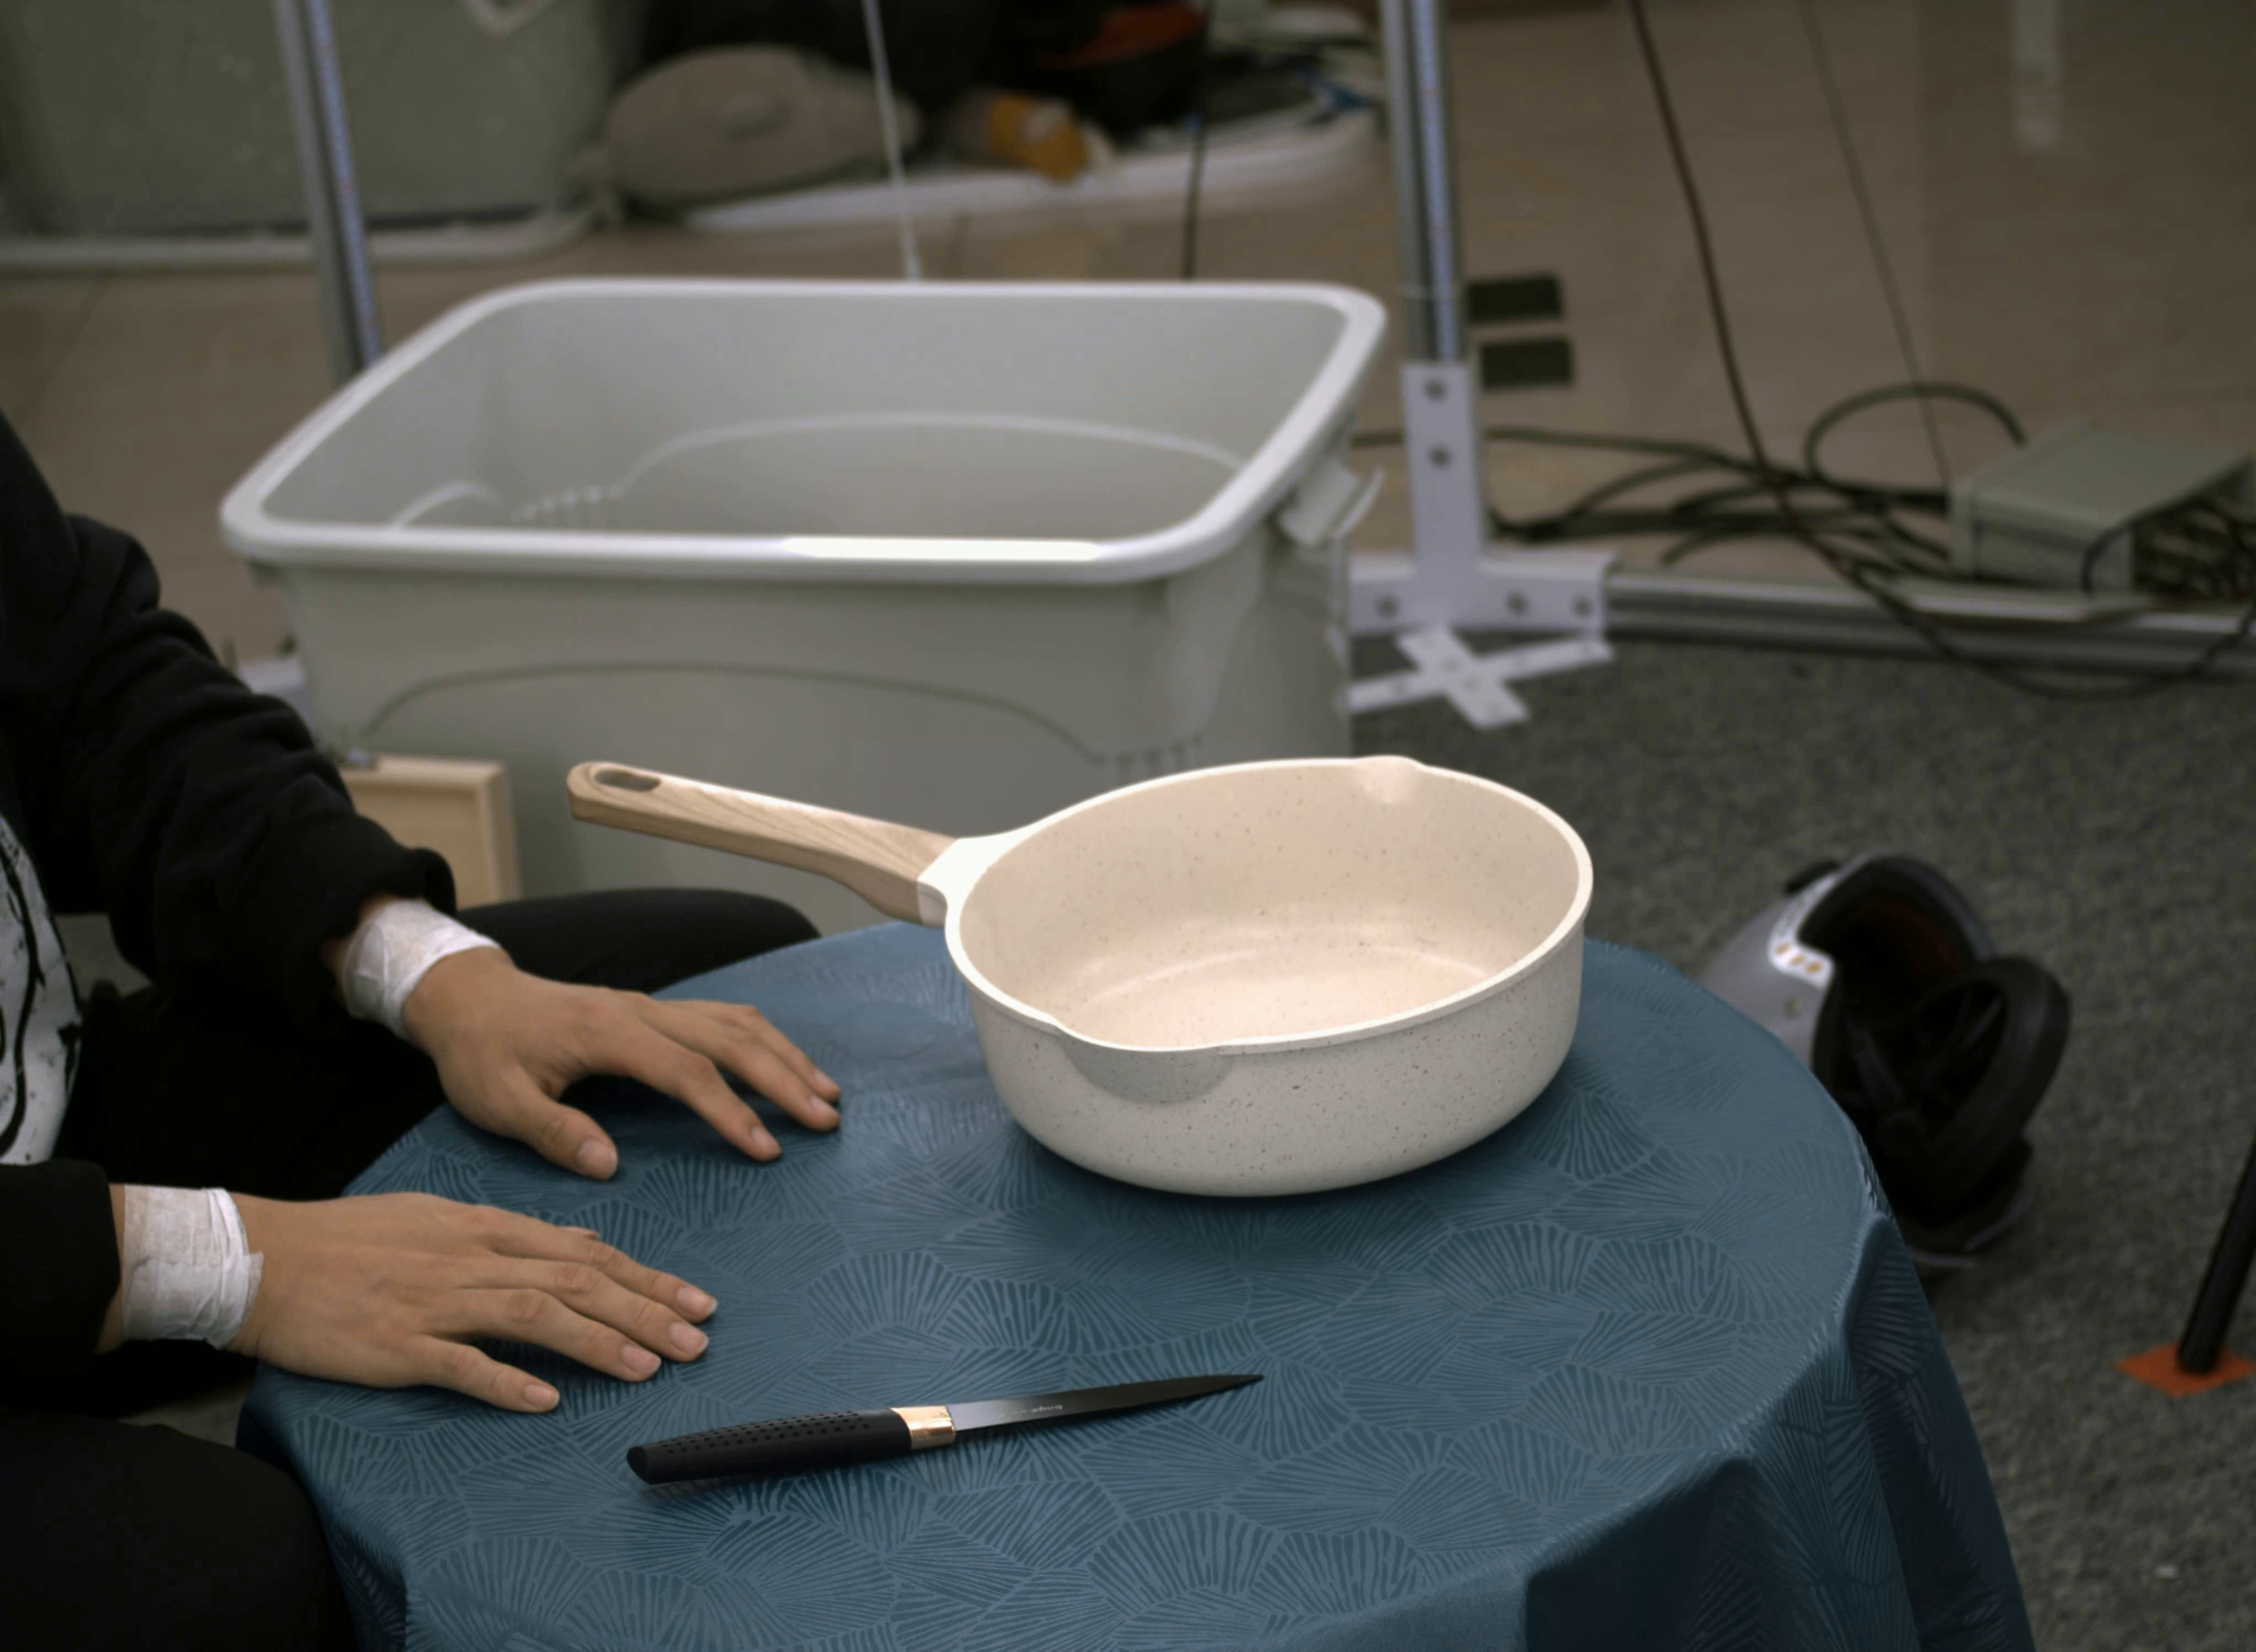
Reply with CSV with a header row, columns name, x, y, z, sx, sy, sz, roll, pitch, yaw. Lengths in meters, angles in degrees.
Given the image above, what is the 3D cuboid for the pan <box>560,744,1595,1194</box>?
name,x,y,z,sx,sy,sz,roll,pitch,yaw
pan,-0.025,0.046,2.238,0.433,0.103,0.260,5,29,24

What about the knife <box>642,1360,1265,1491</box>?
name,x,y,z,sx,sy,sz,roll,pitch,yaw
knife,-0.060,0.210,2.004,0.225,0.017,0.026,-9,9,-7
